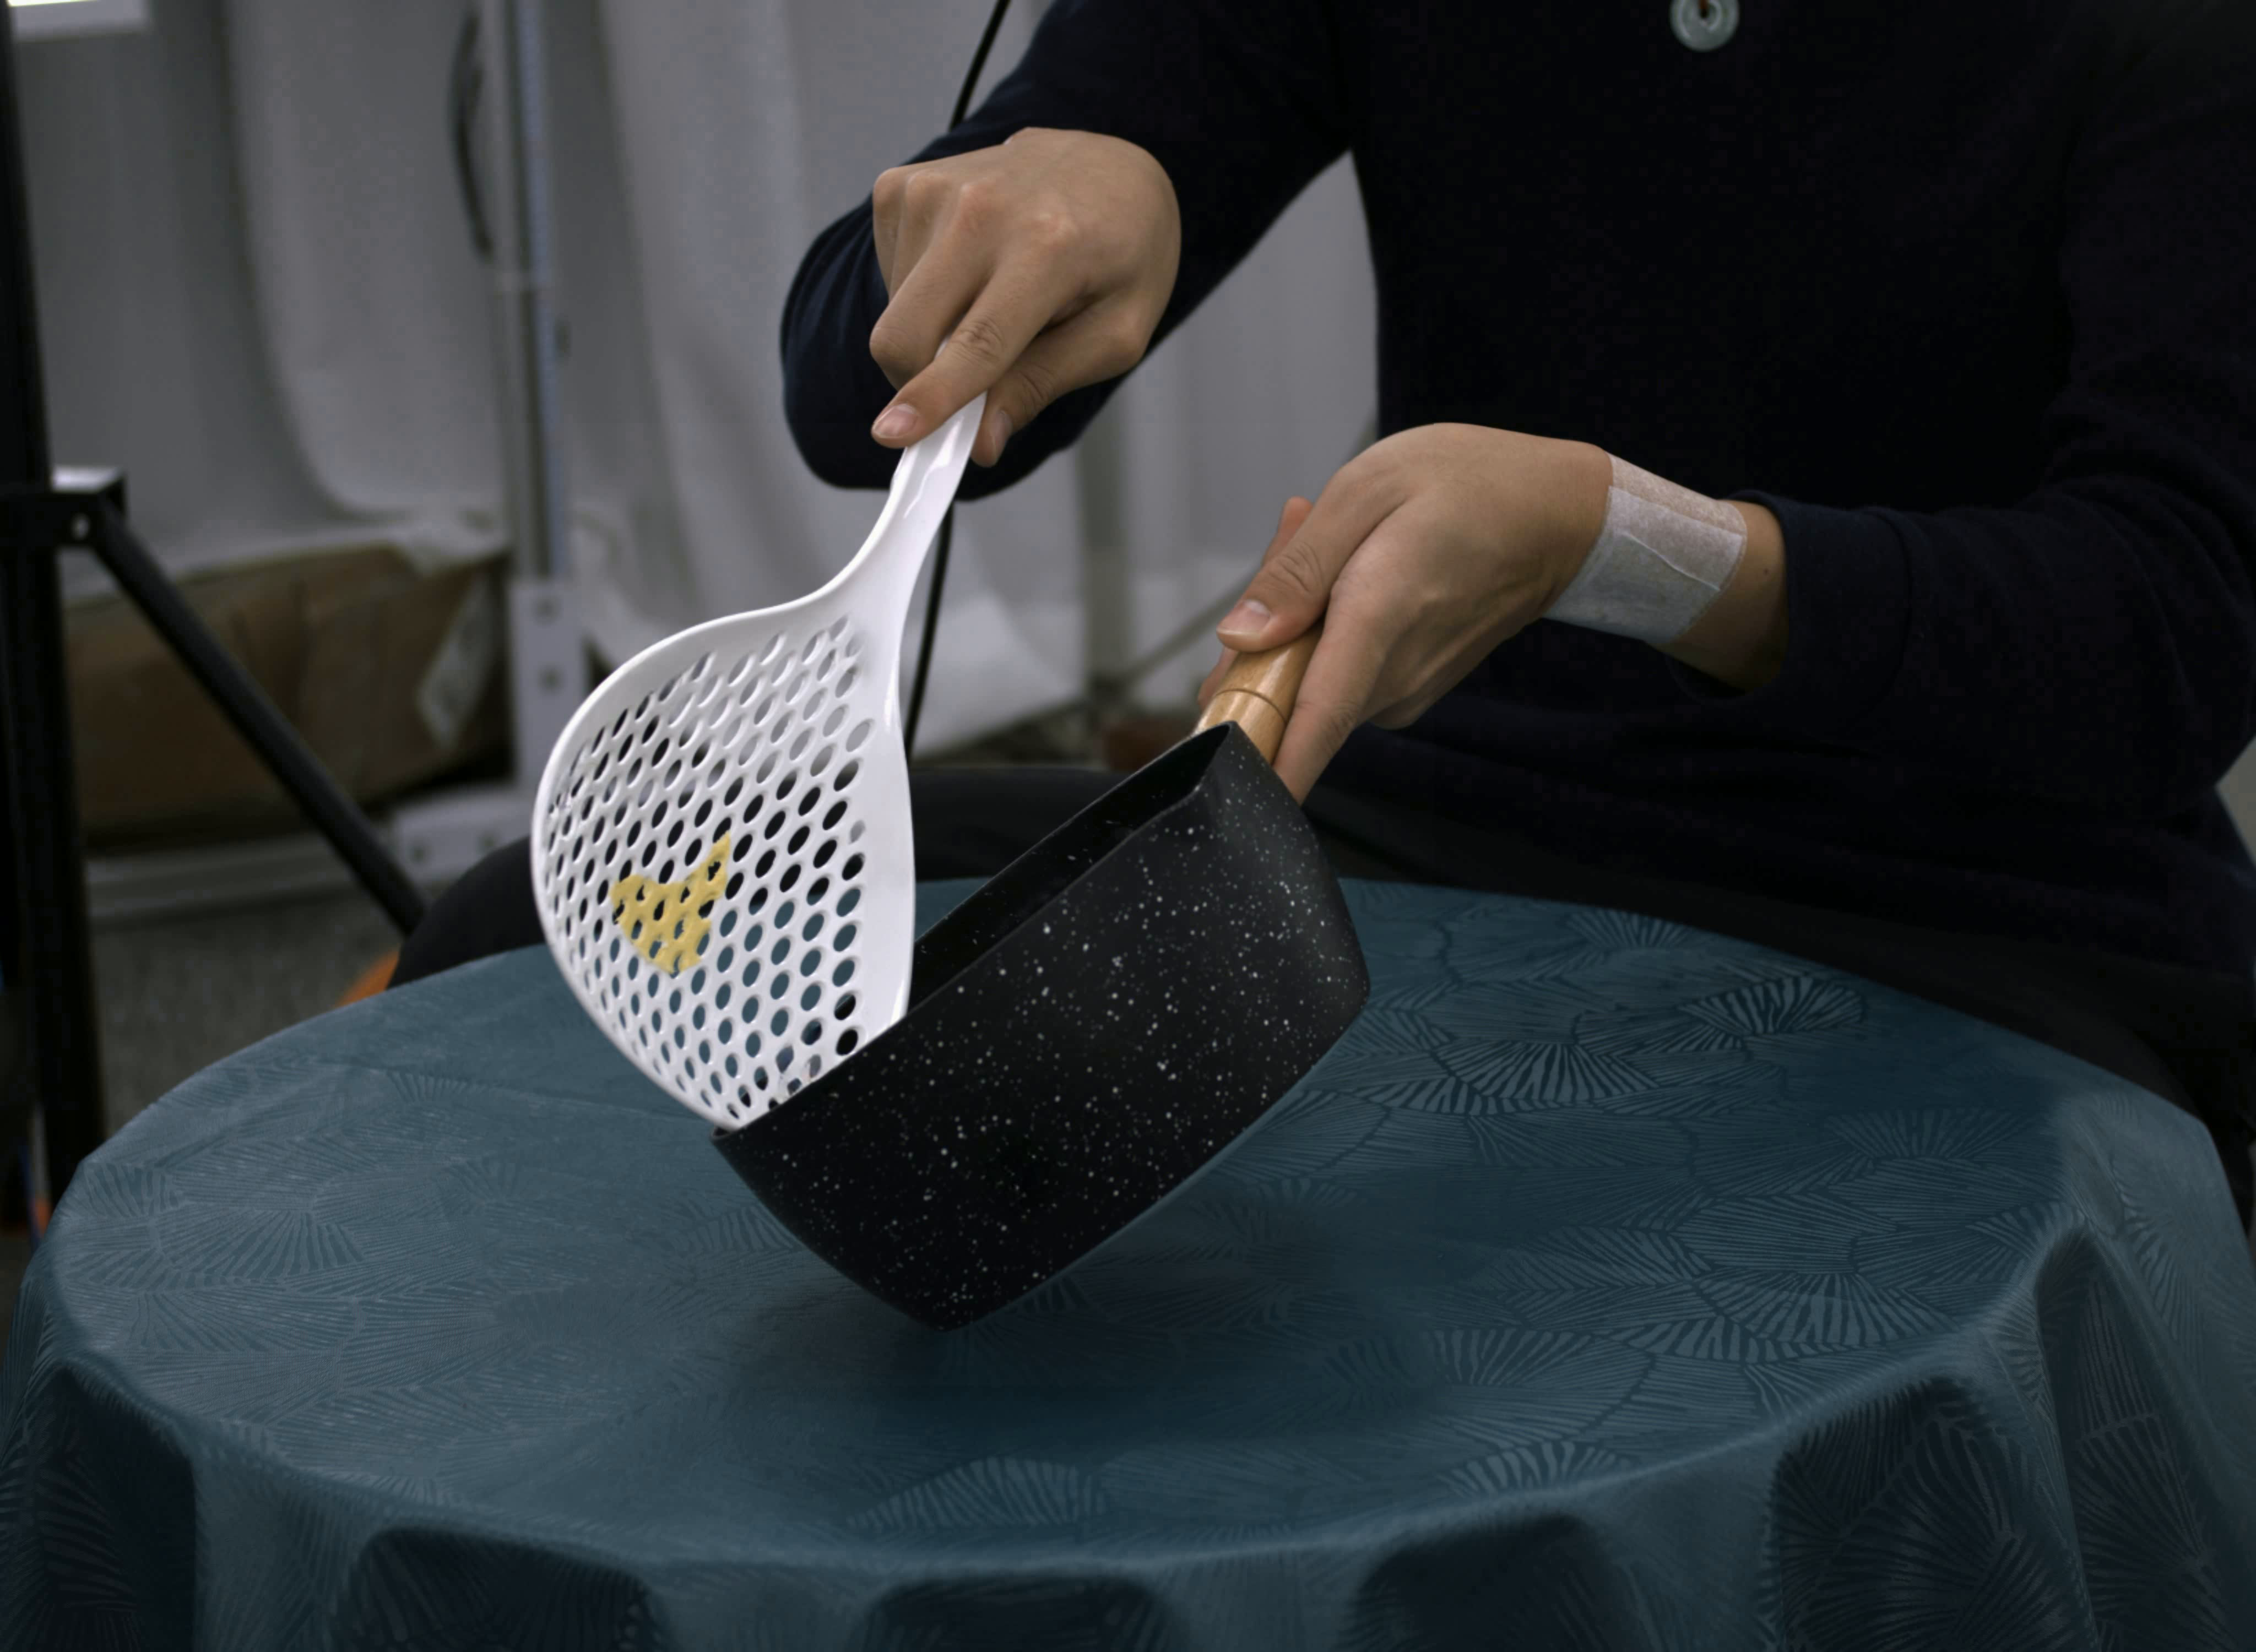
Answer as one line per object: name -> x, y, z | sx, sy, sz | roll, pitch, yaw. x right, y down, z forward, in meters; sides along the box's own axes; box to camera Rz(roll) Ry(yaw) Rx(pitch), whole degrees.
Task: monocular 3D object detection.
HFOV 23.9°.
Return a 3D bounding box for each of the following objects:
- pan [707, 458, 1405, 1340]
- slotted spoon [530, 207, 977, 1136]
pan -> 0.016, 0.014, 1.505 | 0.210, 0.108, 0.339 | -35, 6, 43
slotted spoon -> -0.085, -0.057, 1.520 | 0.051, 0.134, 0.348 | -22, 34, 44
